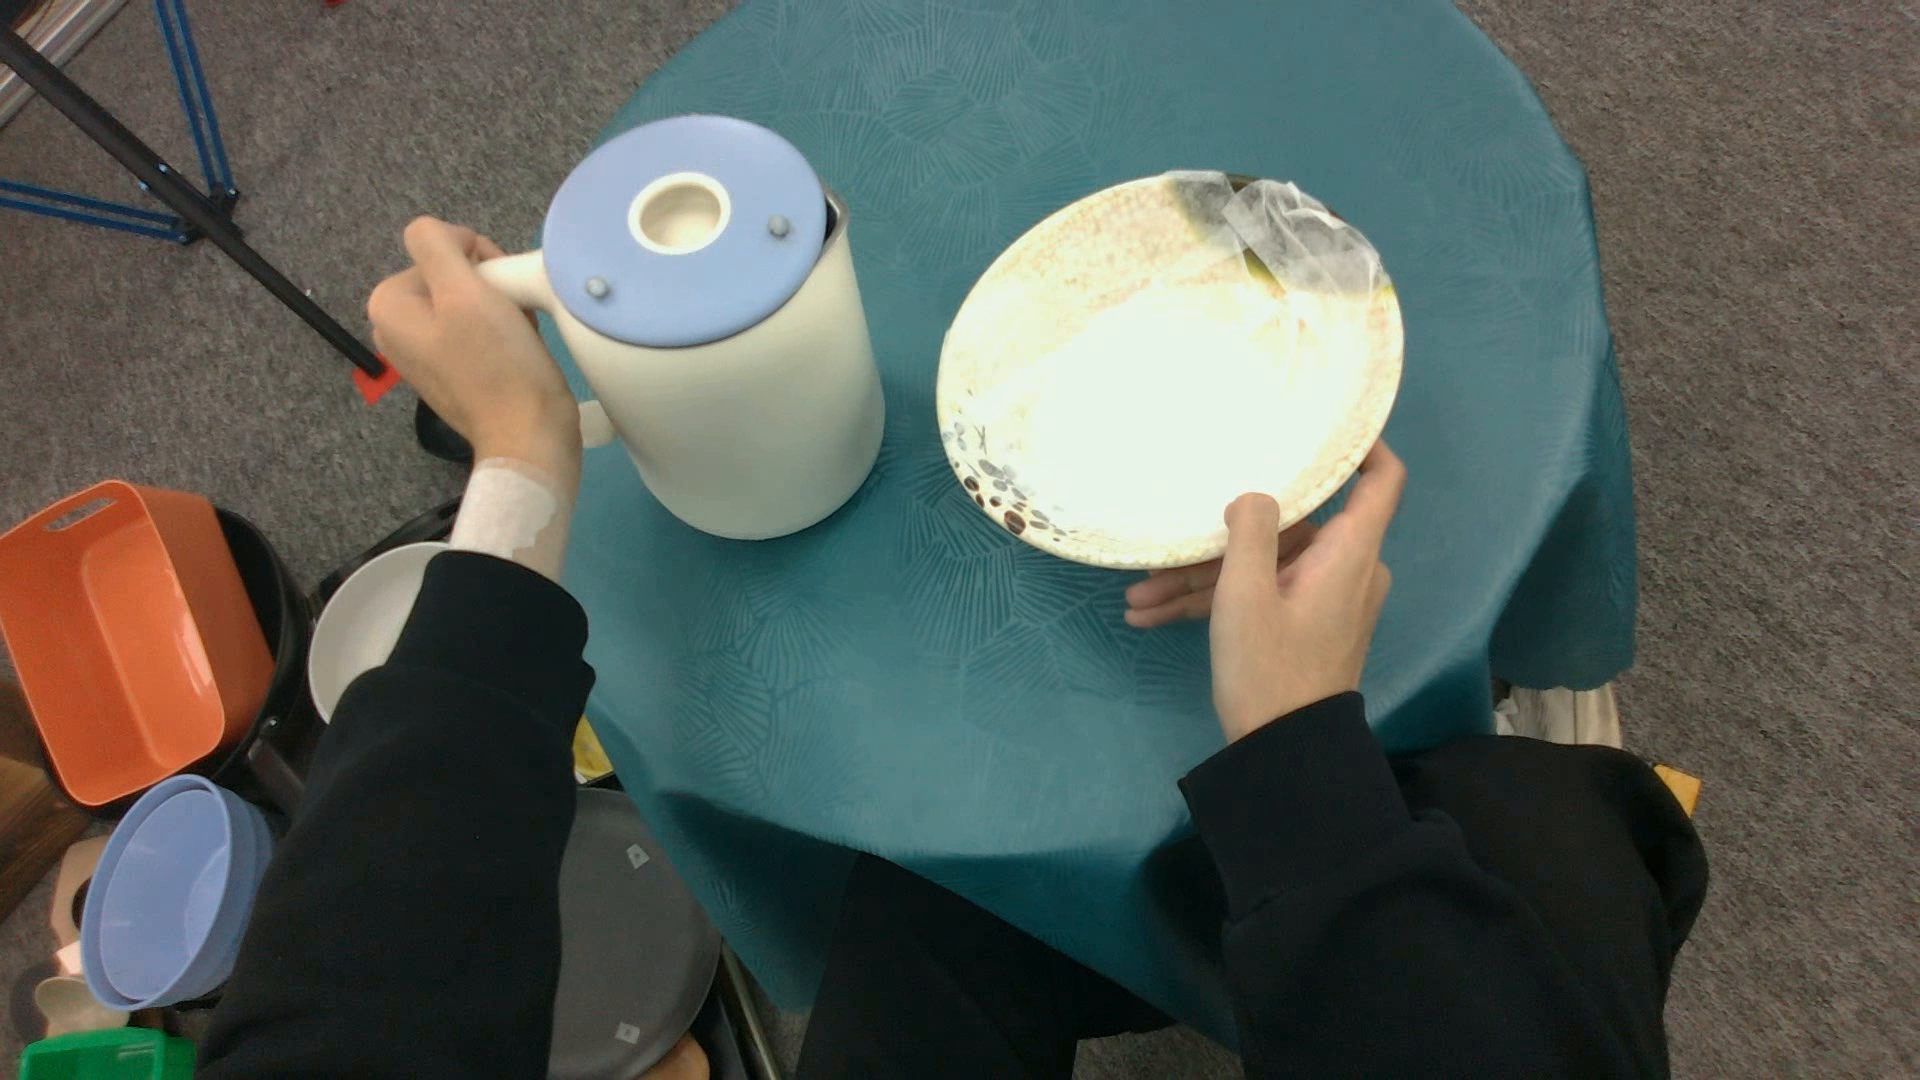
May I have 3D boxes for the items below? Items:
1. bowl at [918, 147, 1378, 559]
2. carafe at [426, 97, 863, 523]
[{"bbox_3d":[0.088,-0.075,0.636,0.203,0.078,0.204,-7,67,16],"label":"bowl"},{"bbox_3d":[-0.144,-0.098,0.644,0.191,0.182,0.132,-9,62,2],"label":"carafe"}]
